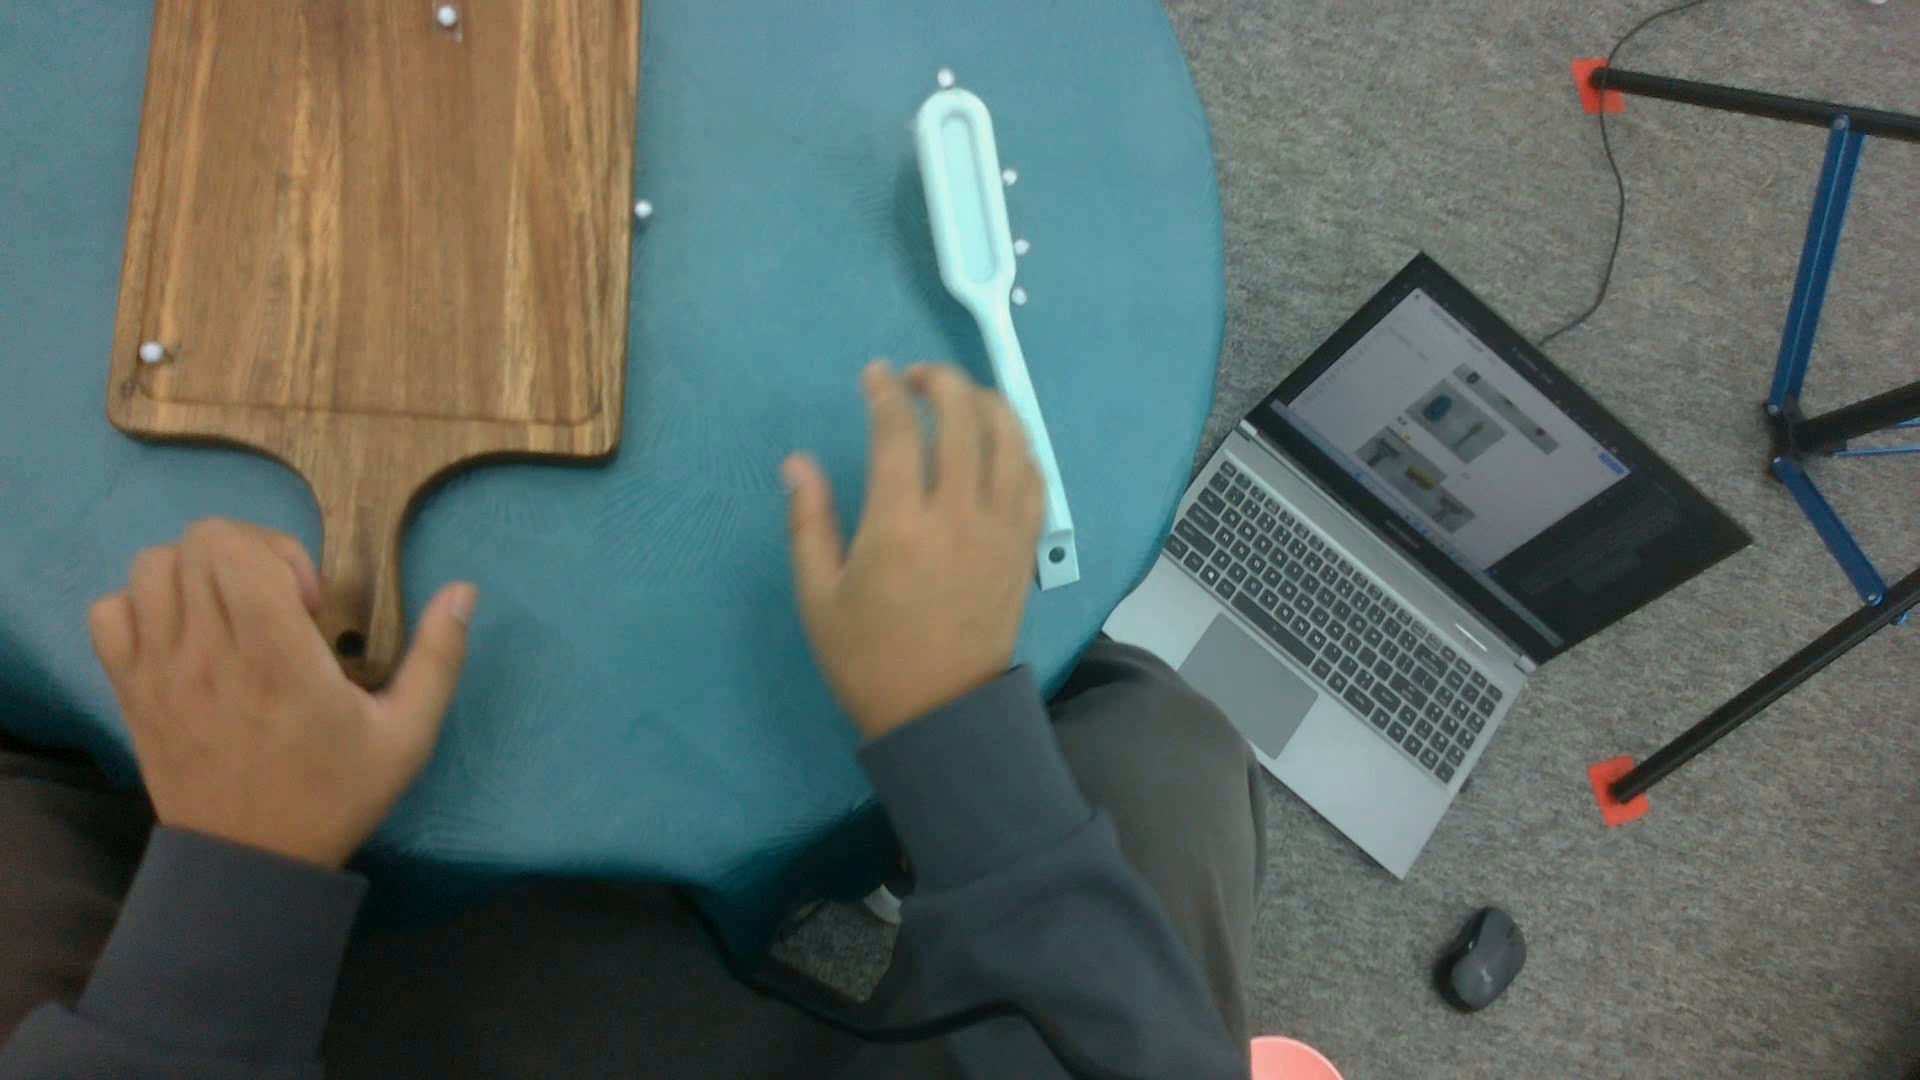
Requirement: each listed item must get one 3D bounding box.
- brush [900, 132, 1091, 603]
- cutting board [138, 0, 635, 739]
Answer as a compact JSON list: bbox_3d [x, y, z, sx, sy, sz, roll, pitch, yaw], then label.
[{"bbox_3d":[0.019,-0.081,0.659,0.038,0.049,0.228,-19,90,-9],"label":"brush"},{"bbox_3d":[-0.247,-0.090,0.608,0.201,0.023,0.353,0,77,-12],"label":"cutting board"}]
